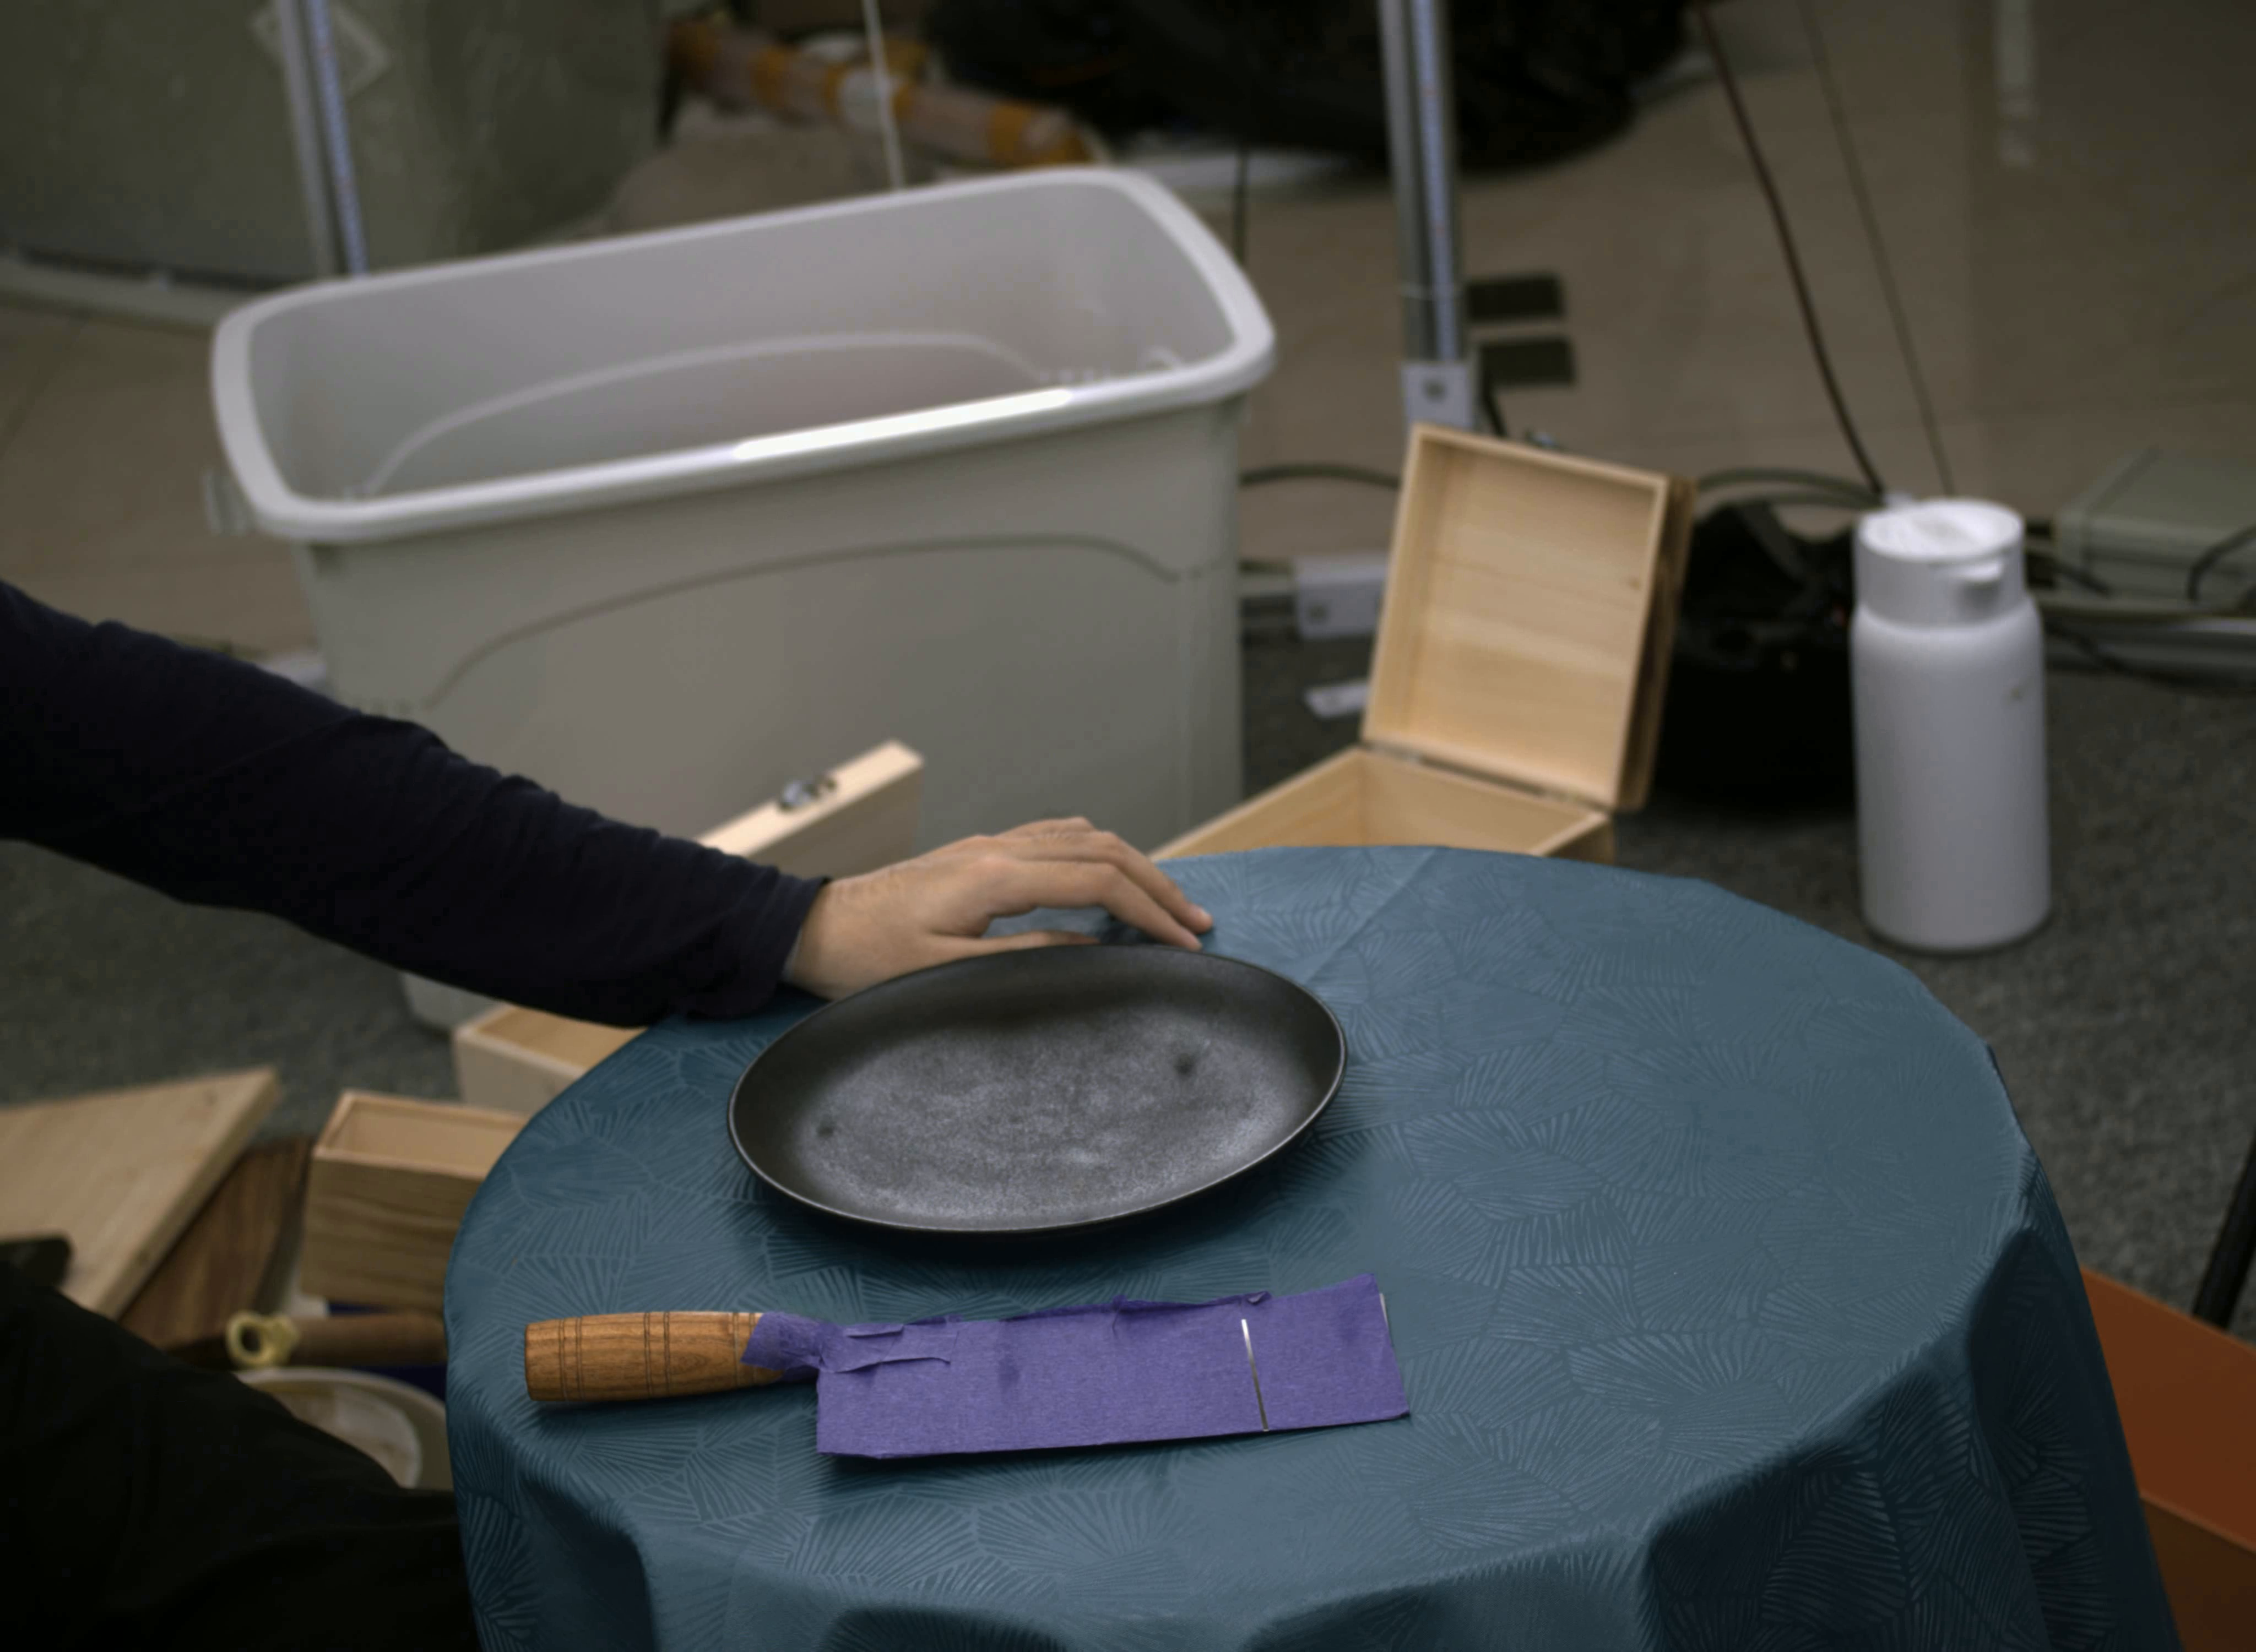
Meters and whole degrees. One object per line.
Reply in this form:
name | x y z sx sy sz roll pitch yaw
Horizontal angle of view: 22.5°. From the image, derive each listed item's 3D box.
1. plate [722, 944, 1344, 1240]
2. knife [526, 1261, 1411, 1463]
plate | -0.036 0.108 2.201 0.244 0.024 0.241 -5 25 3
knife | -0.058 0.194 2.017 0.315 0.033 0.102 -6 25 -1
